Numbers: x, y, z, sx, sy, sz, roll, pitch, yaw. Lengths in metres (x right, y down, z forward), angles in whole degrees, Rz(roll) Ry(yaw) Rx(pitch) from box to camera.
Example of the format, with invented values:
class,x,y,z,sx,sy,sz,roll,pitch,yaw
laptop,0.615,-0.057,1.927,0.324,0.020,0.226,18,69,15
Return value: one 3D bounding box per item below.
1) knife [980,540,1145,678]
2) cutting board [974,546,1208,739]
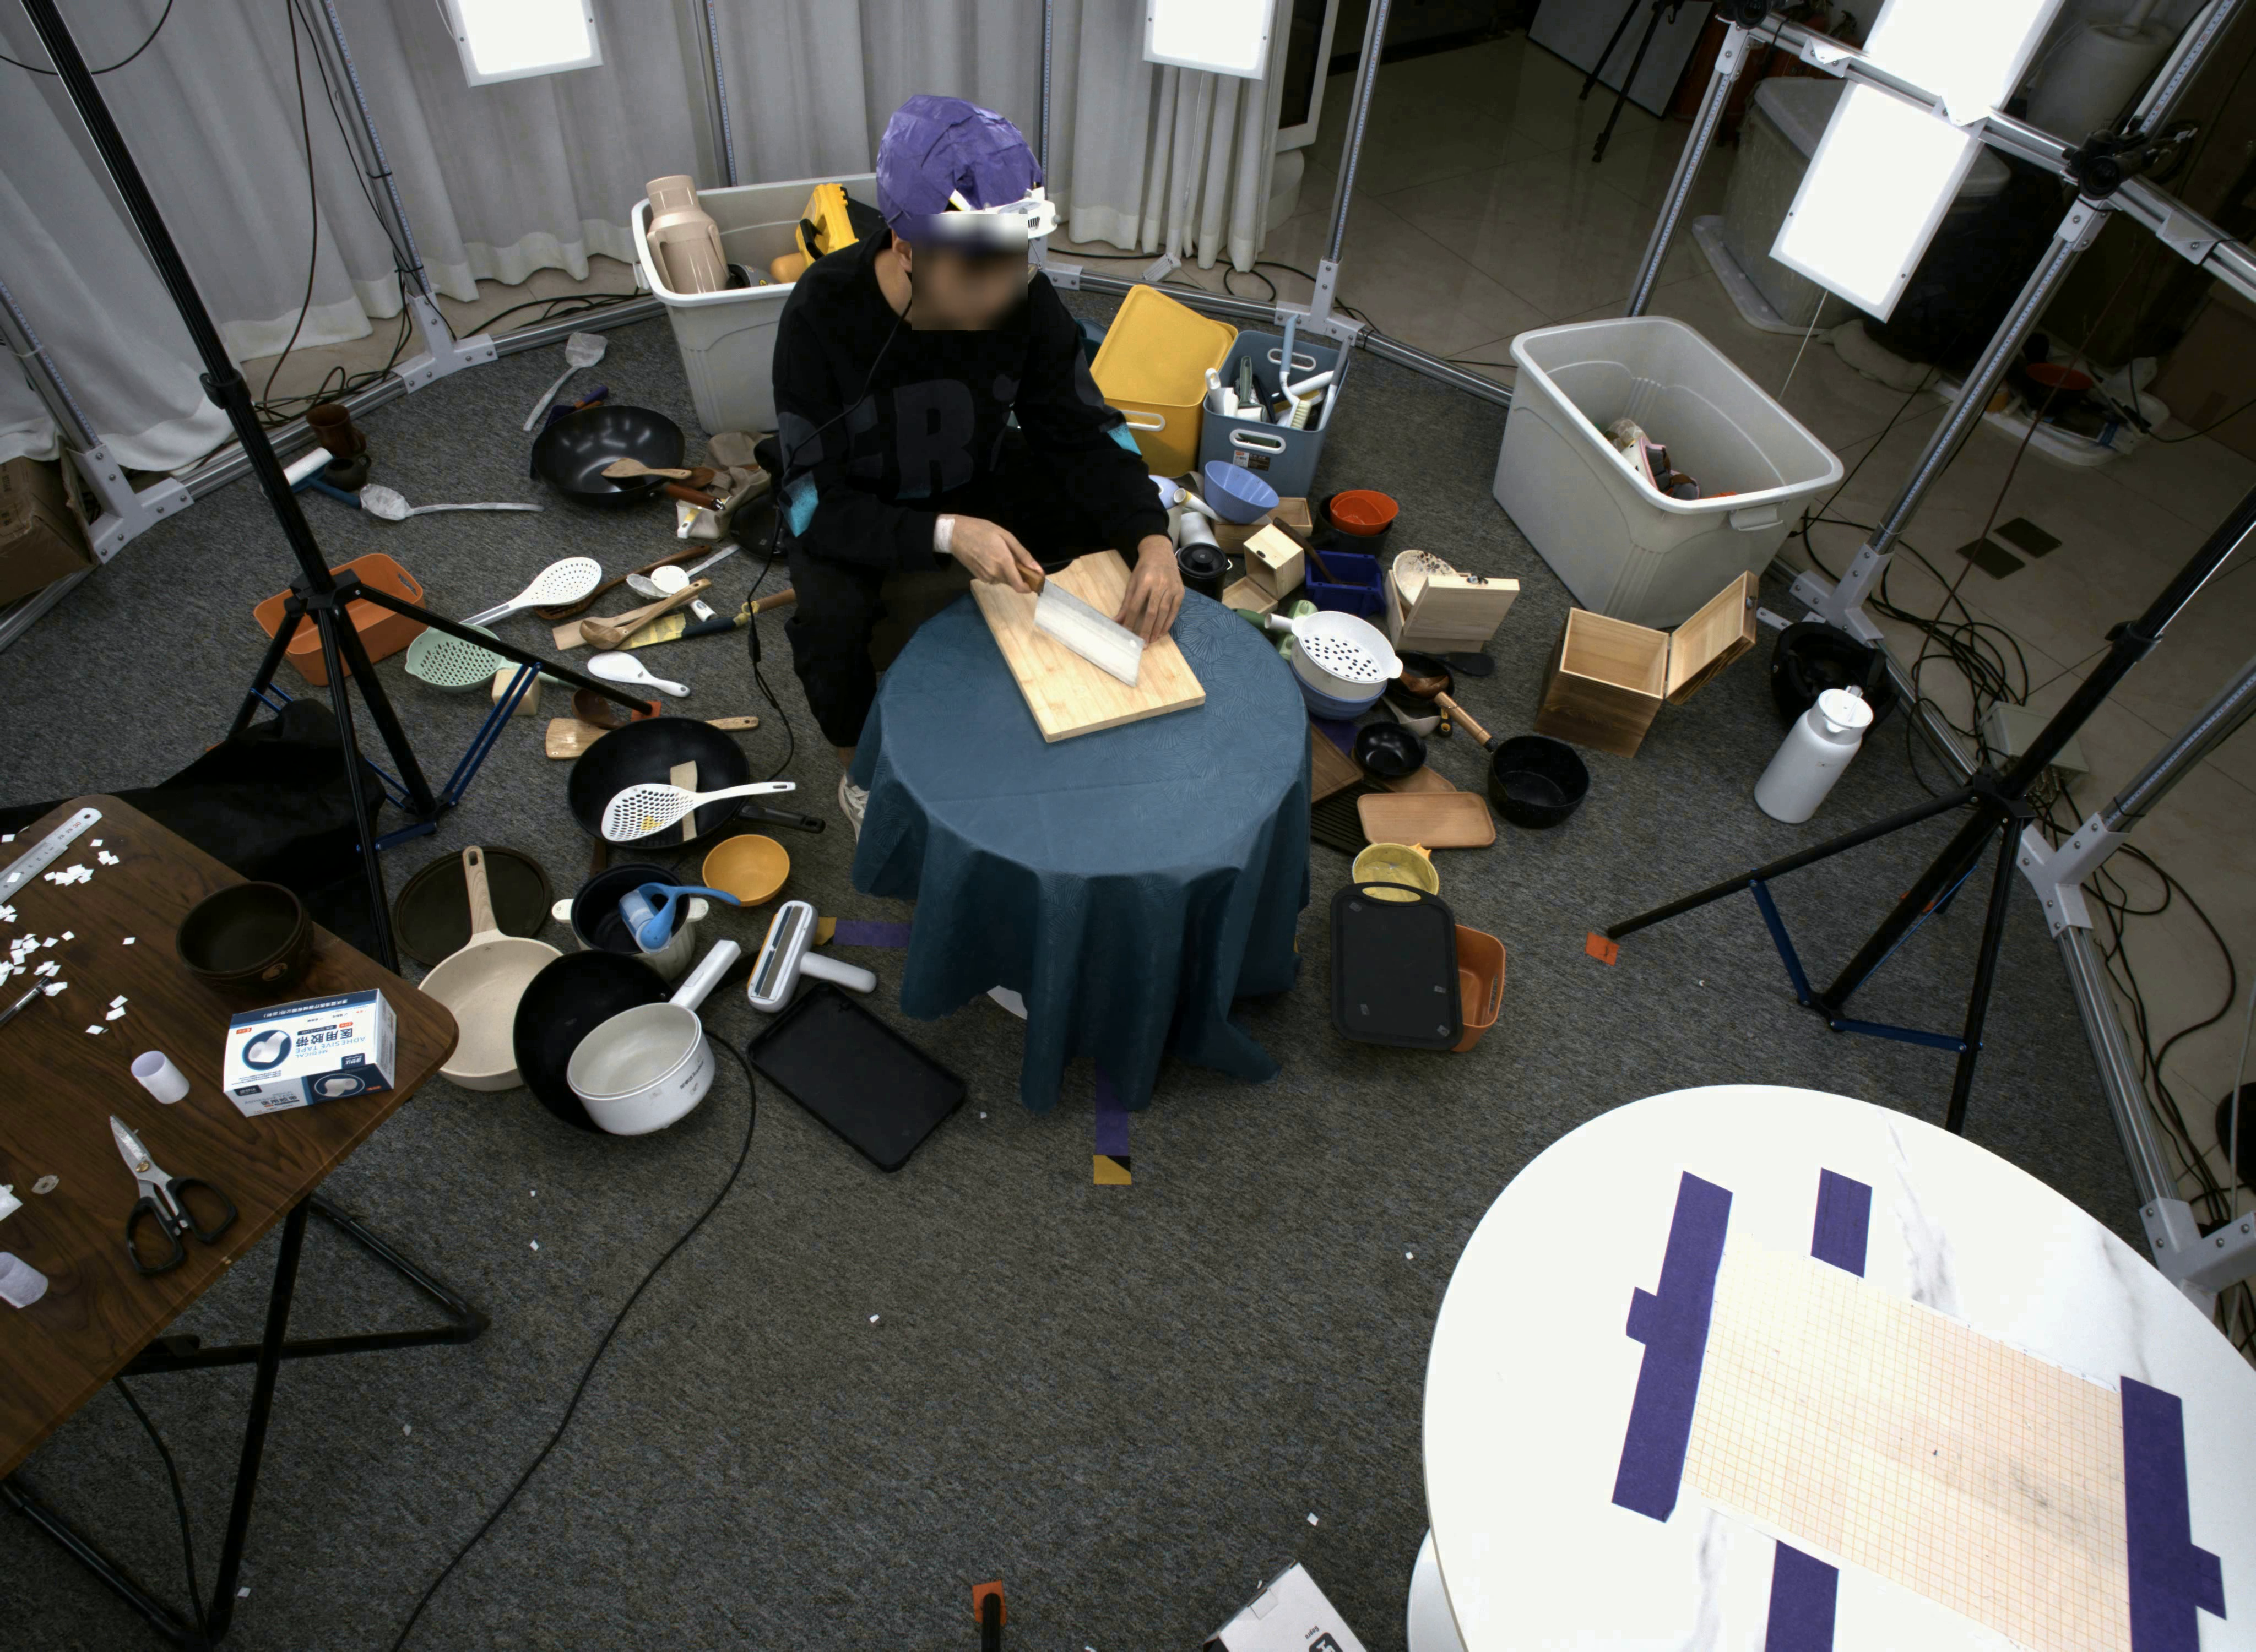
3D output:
class,x,y,z,sx,sy,sz,roll,pitch,yaw
knife,-0.097,-0.307,1.838,0.309,0.091,0.021,35,49,22
cutting board,-0.060,-0.277,1.894,0.251,0.023,0.357,-16,52,-17
